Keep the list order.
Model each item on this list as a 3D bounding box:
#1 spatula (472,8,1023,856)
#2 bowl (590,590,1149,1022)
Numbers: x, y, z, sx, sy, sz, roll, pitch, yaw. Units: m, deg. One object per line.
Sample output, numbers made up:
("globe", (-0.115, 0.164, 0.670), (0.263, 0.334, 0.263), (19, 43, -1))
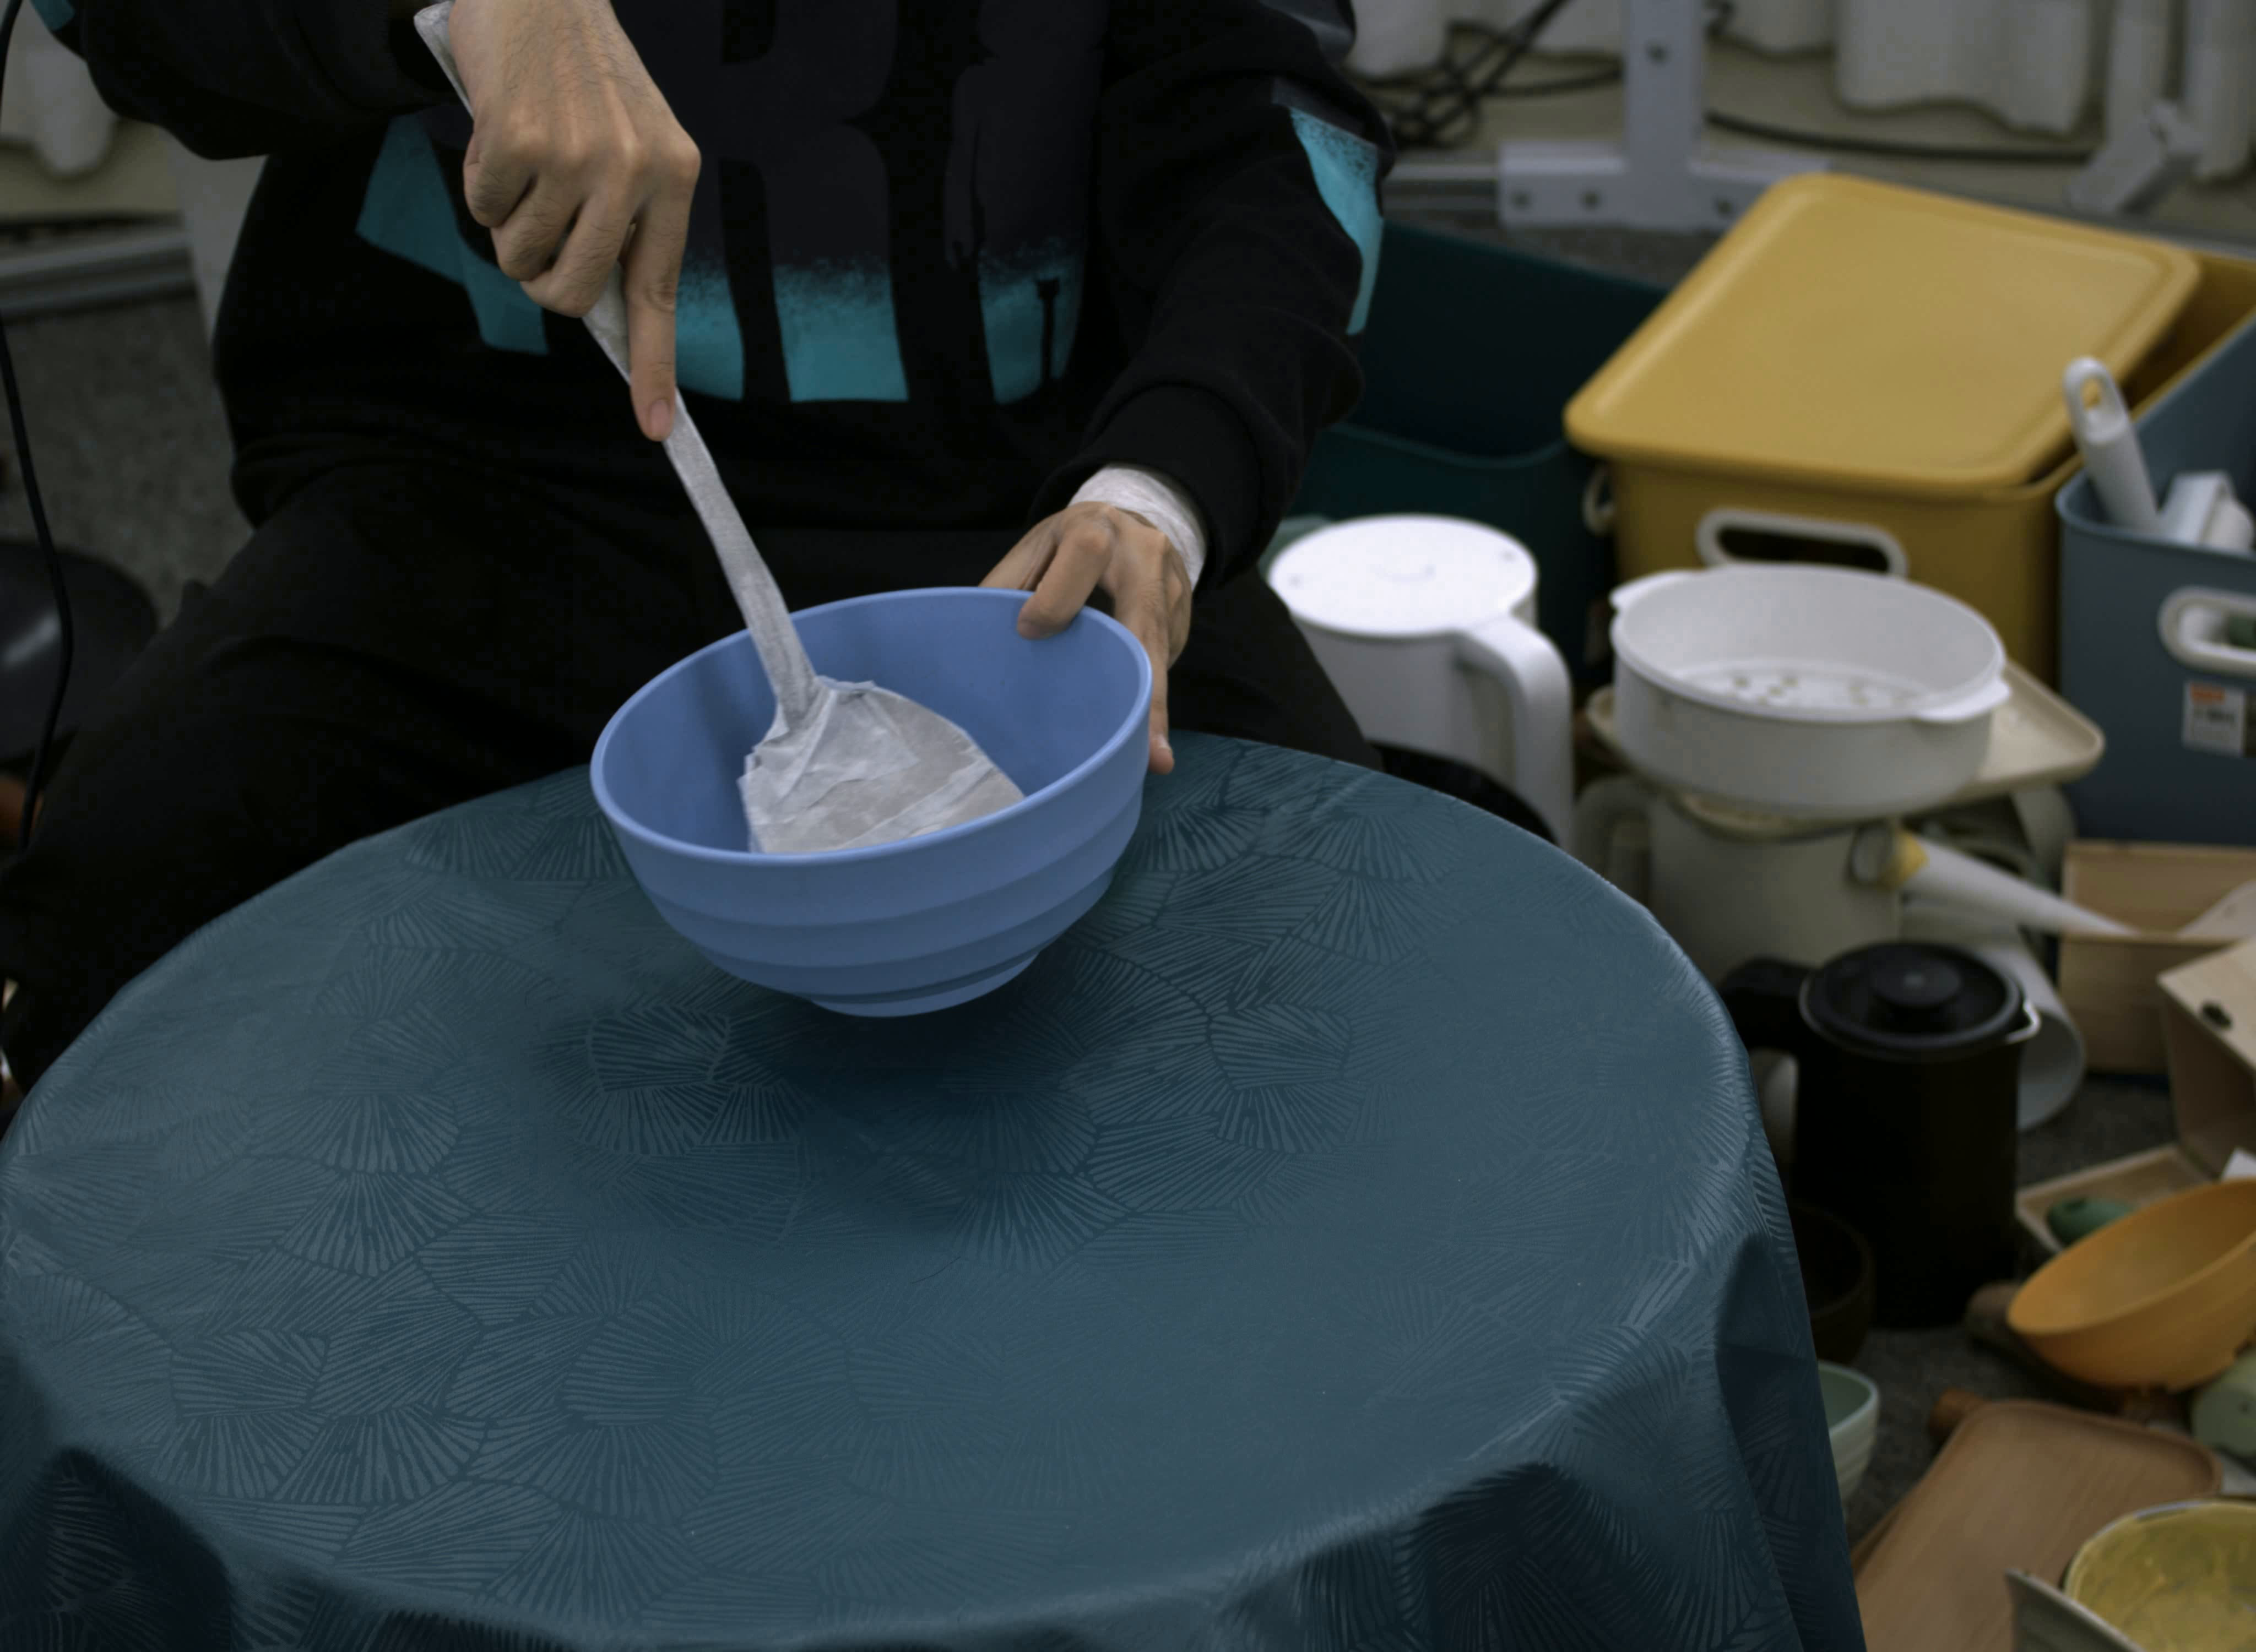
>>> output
("spatula", (-0.141, -0.121, 1.958), (0.099, 0.365, 0.044), (-28, 3, -27))
("bowl", (-0.081, 0.004, 1.945), (0.195, 0.094, 0.199), (-9, 27, 5))
